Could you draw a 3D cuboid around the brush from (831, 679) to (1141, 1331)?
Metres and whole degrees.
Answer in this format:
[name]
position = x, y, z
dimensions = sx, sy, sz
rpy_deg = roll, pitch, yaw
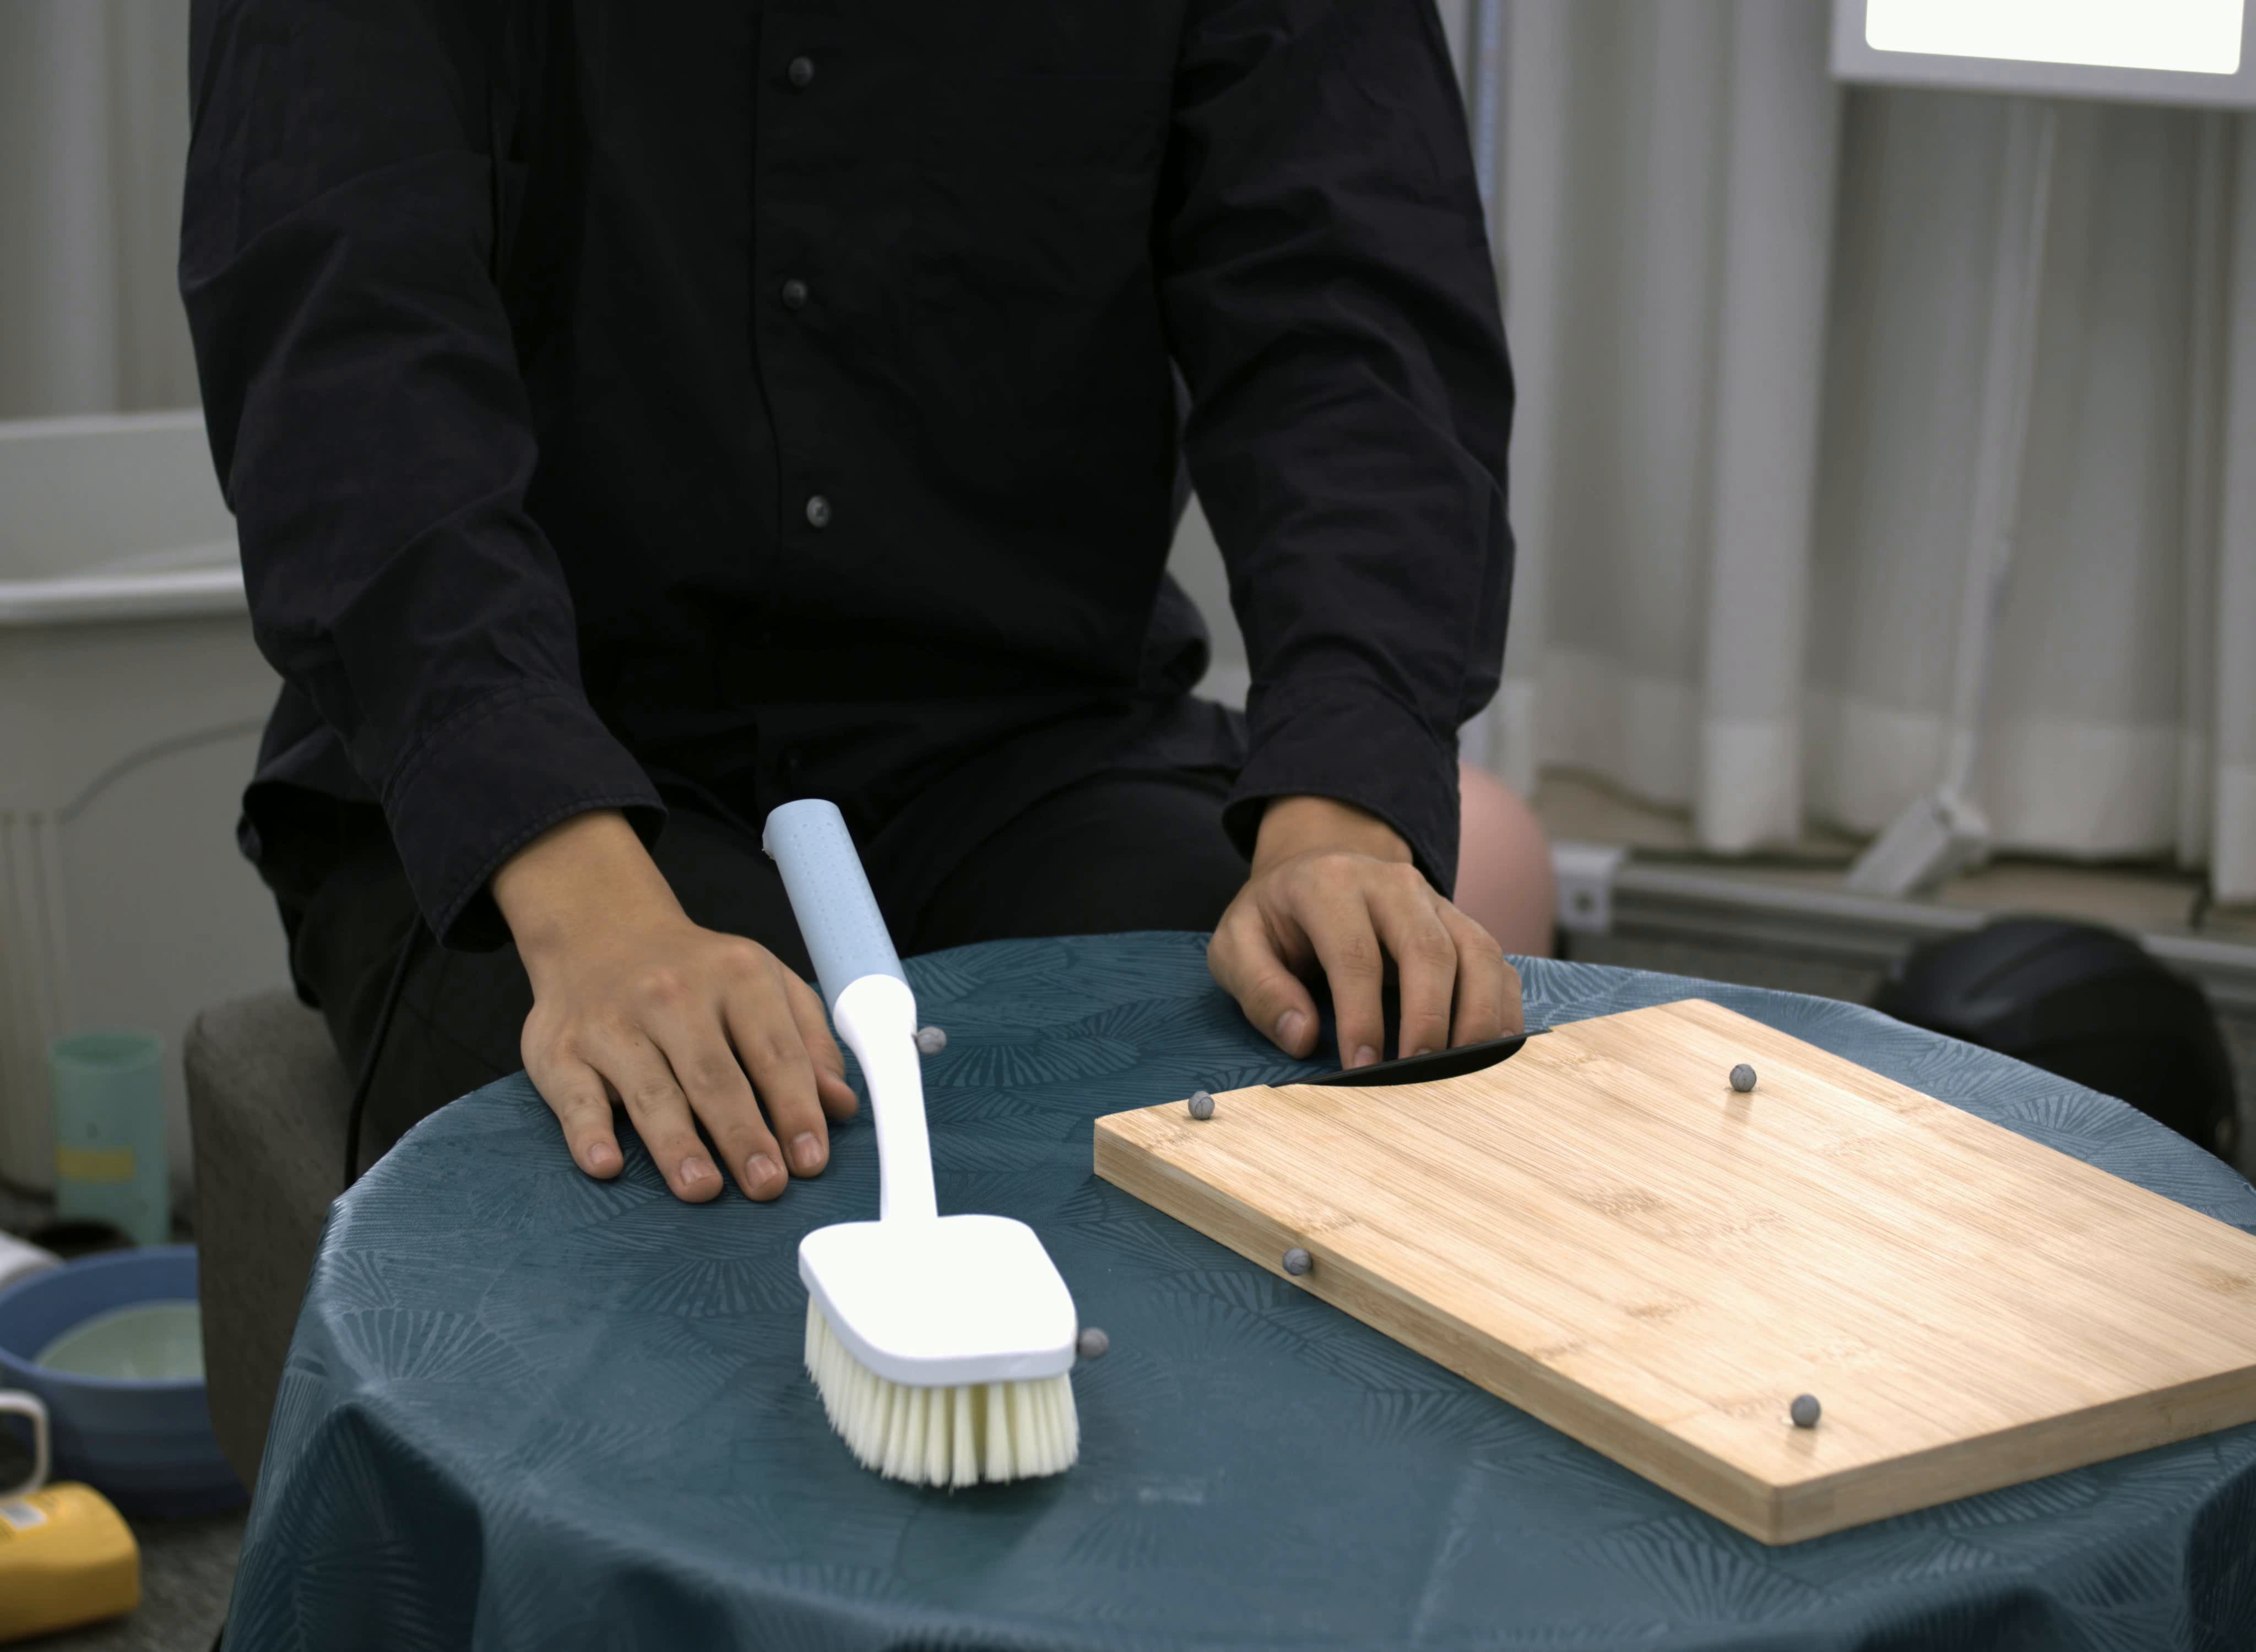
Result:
[brush]
position = -0.048, 0.064, 1.557
dimensions = 0.084, 0.084, 0.322
rpy_deg = 34, 15, -27

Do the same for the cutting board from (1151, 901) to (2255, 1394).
[cutting board]
position = 0.199, 0.090, 1.597
dimensions = 0.252, 0.024, 0.344
rpy_deg = -9, 19, -33
